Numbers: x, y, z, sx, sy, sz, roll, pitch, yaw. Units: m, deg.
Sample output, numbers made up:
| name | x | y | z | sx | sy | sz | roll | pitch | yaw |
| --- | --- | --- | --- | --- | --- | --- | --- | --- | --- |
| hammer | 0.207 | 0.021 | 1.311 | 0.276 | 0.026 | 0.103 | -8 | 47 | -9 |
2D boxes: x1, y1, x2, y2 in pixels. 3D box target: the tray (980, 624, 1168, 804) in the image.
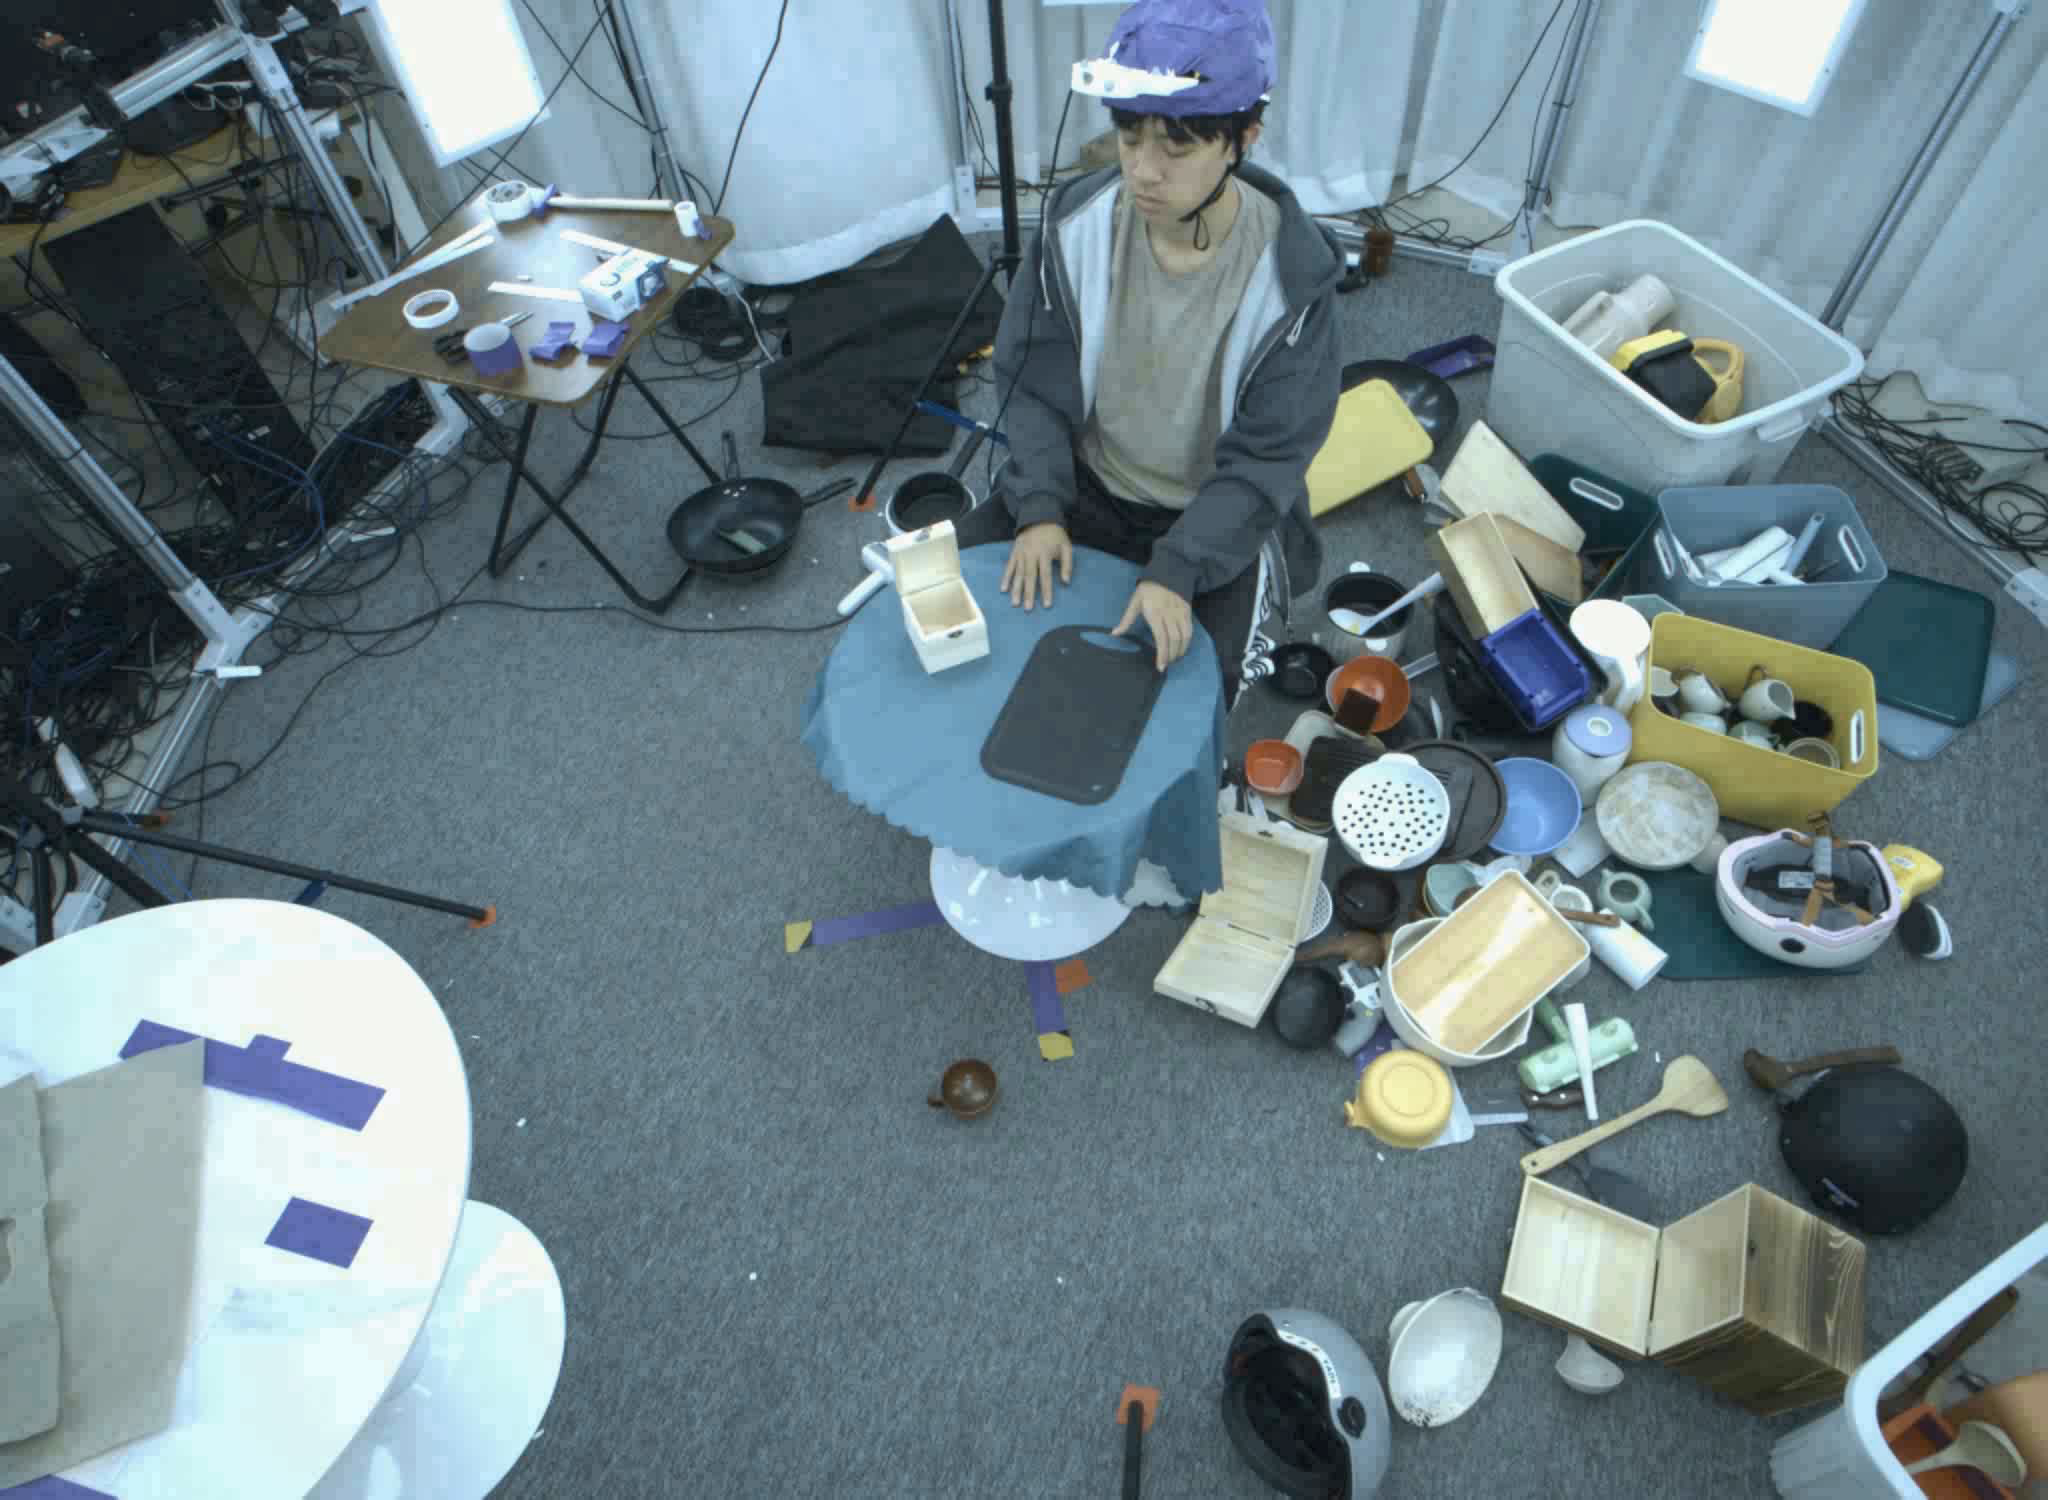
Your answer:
| name | x | y | z | sx | sy | sz | roll | pitch | yaw |
| --- | --- | --- | --- | --- | --- | --- | --- | --- | --- |
| tray | 0.080 | -0.067 | 1.831 | 0.209 | 0.010 | 0.325 | 18 | 57 | 14 |

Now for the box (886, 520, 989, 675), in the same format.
| name | x | y | z | sx | sy | sz | roll | pitch | yaw |
| --- | --- | --- | --- | --- | --- | --- | --- | --- | --- |
| box | -0.129 | -0.228 | 1.843 | 0.103 | 0.187 | 0.131 | -22 | 55 | -10 |
